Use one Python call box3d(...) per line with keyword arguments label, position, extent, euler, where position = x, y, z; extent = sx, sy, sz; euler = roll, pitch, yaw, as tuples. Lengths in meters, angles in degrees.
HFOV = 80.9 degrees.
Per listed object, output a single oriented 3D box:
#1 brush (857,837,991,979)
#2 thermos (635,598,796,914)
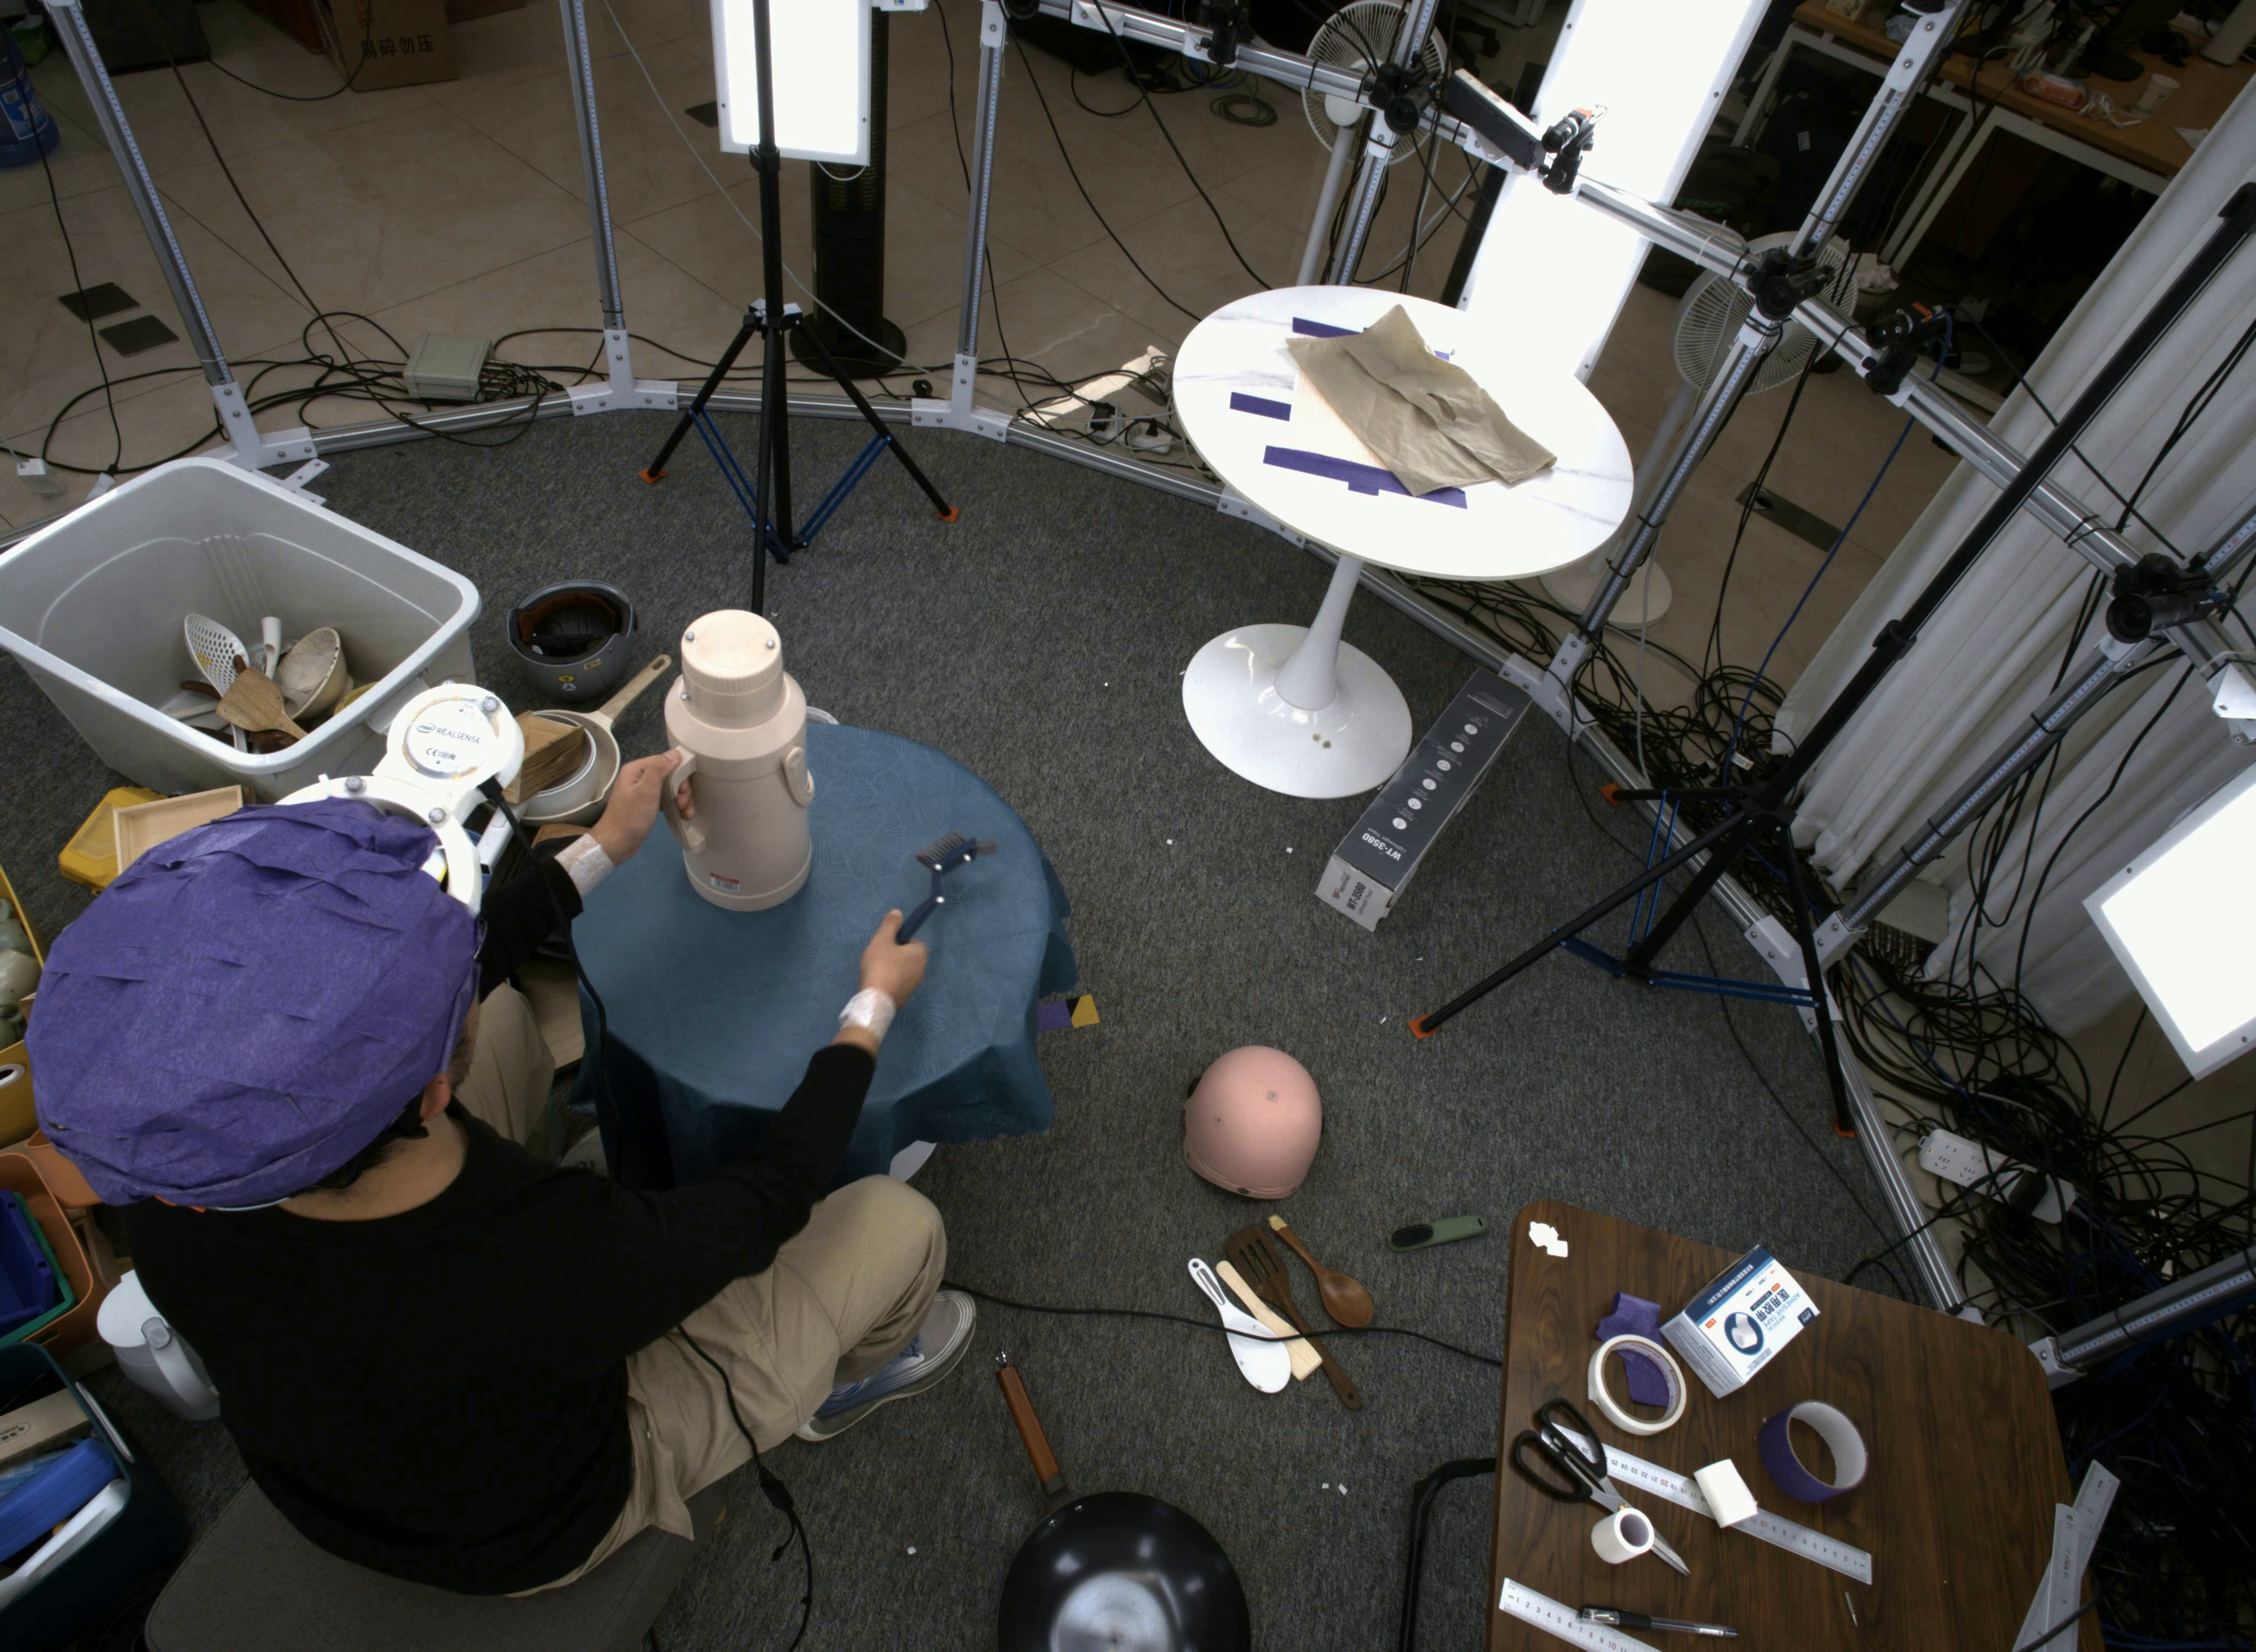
box3d(label="brush", position=(-0.251, 0.094, 1.599), extent=(0.095, 0.034, 0.269), euler=(18, 39, 2))
box3d(label="thermos", position=(-0.484, -0.070, 1.498), extent=(0.172, 0.414, 0.206), euler=(30, 52, 10))
